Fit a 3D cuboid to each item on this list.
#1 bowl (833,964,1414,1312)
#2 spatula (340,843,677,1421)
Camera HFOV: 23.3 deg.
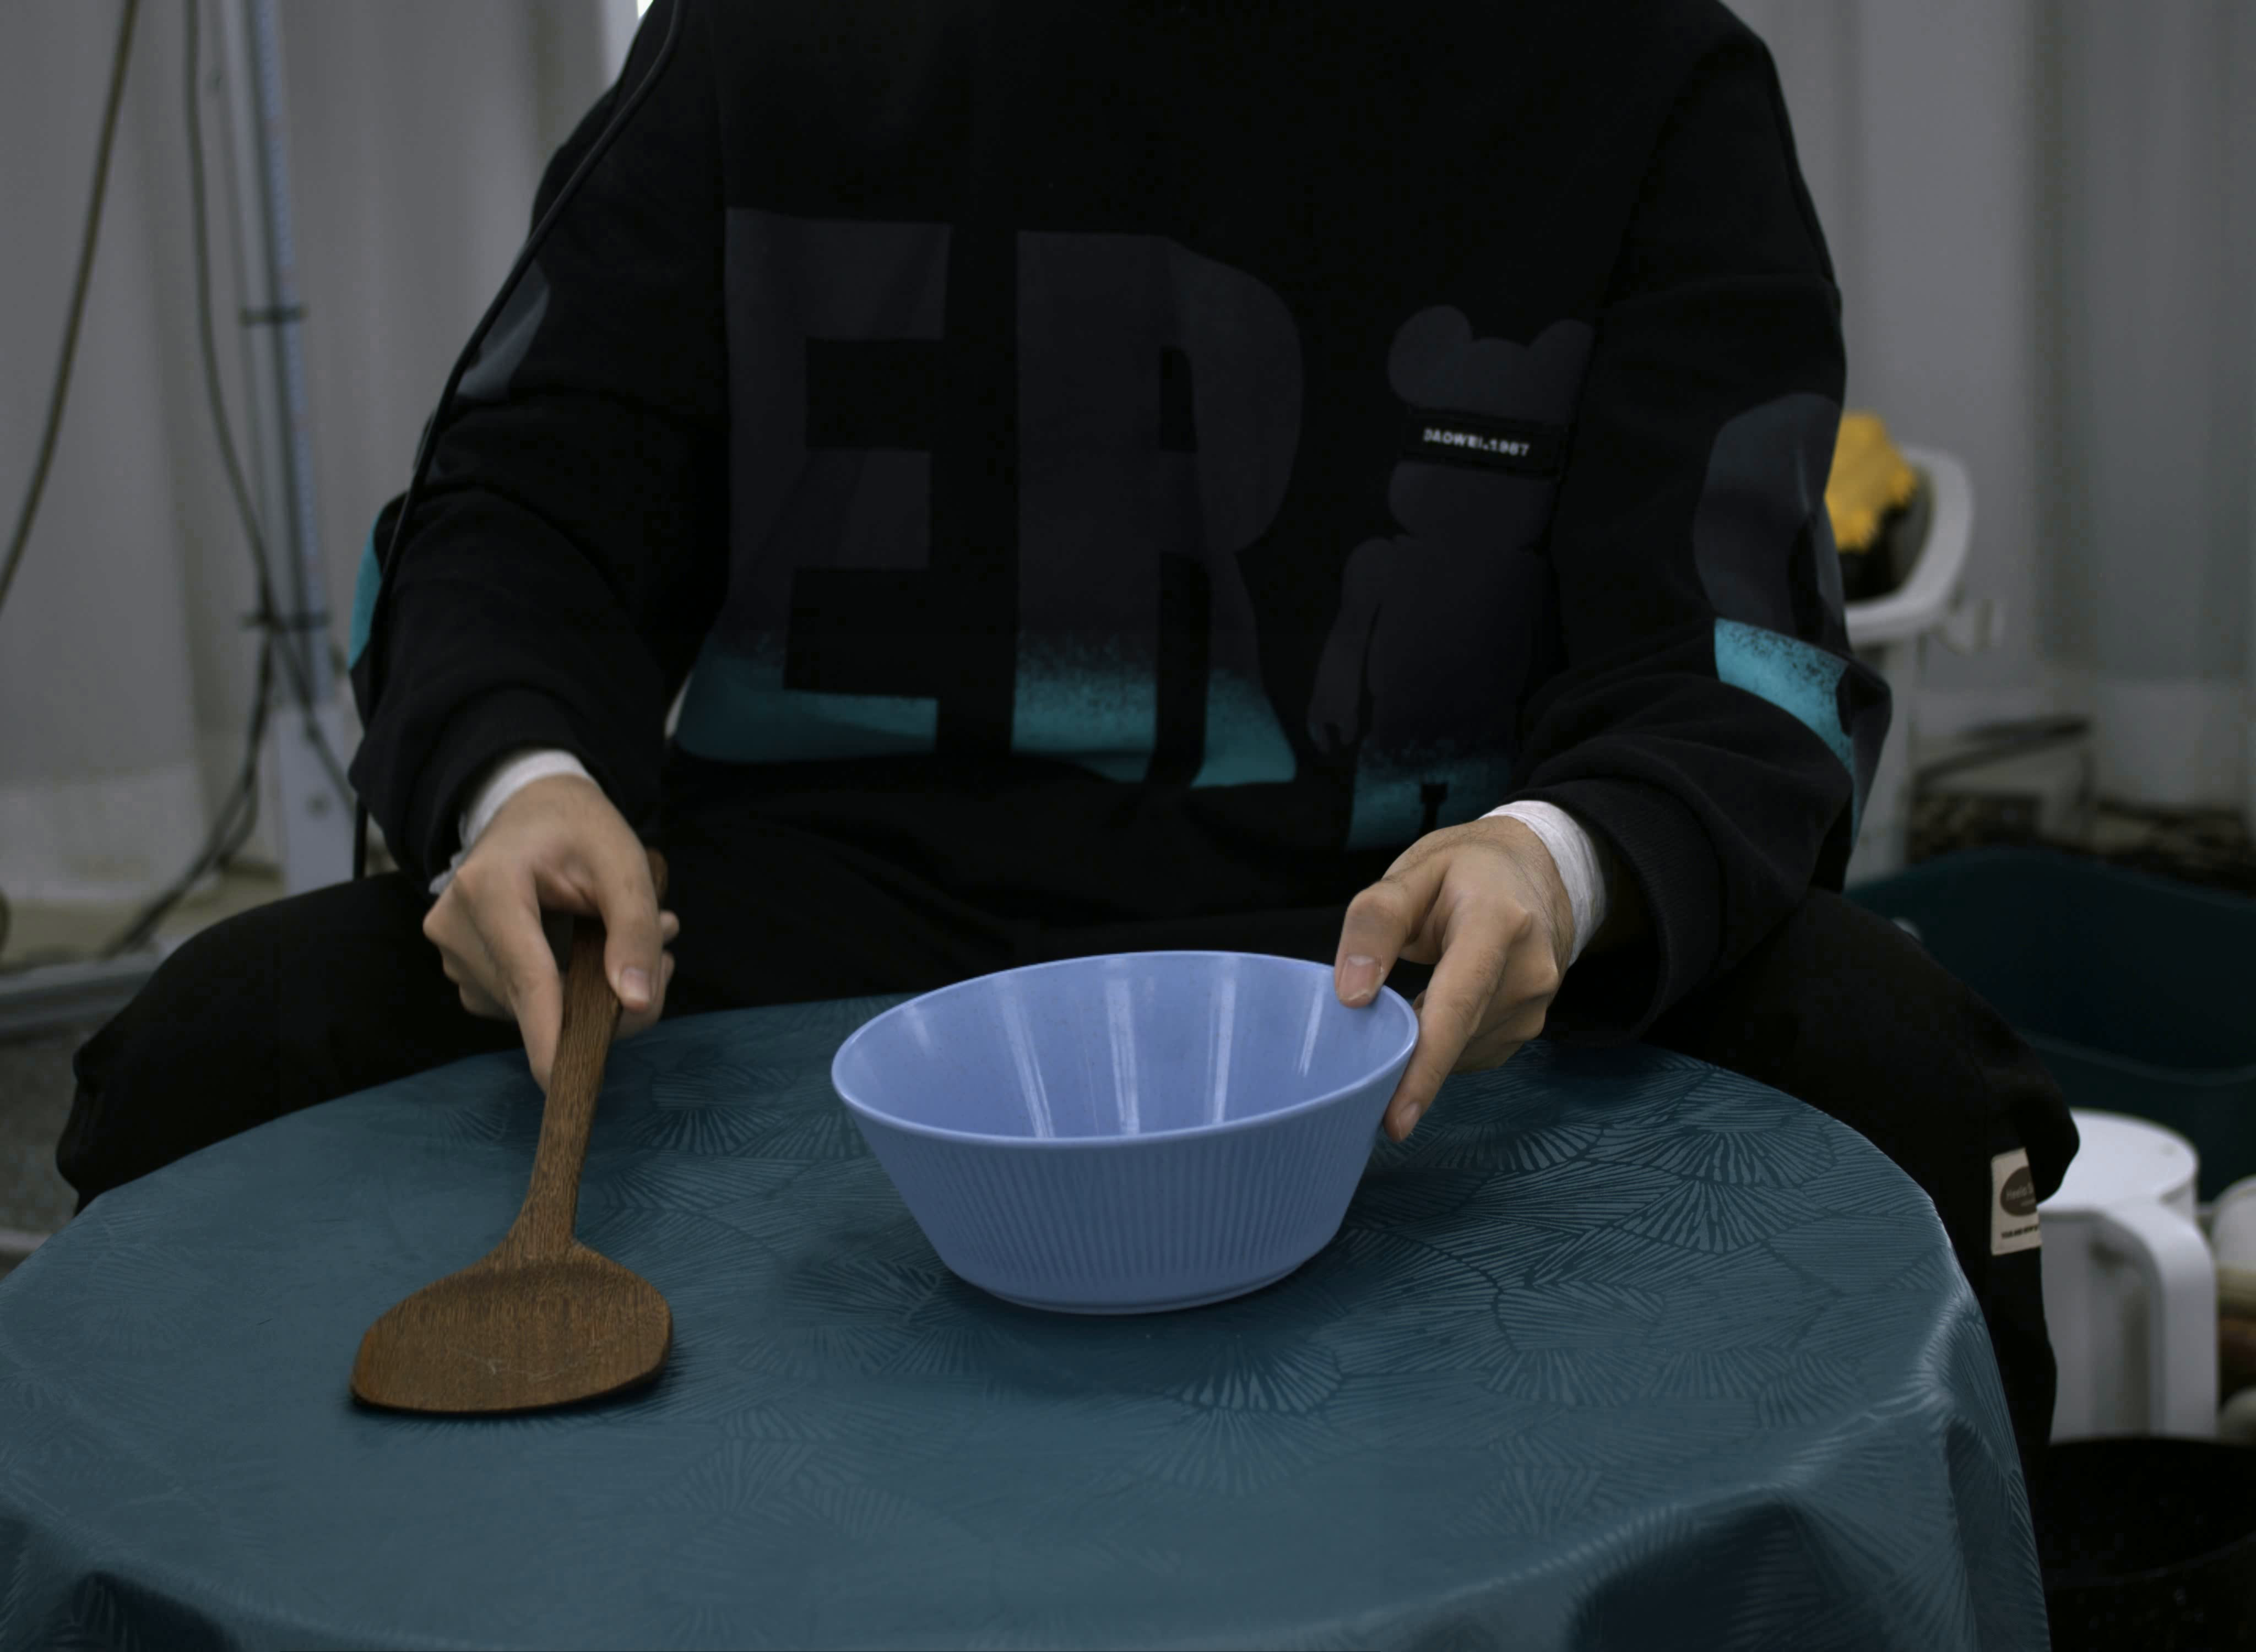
[{"bbox_3d":[0.000,0.096,1.644,0.175,0.070,0.177,-4,14,1],"label":"bowl"},{"bbox_3d":[-0.176,0.087,1.725,0.096,0.015,0.390,-3,25,2],"label":"spatula"}]
